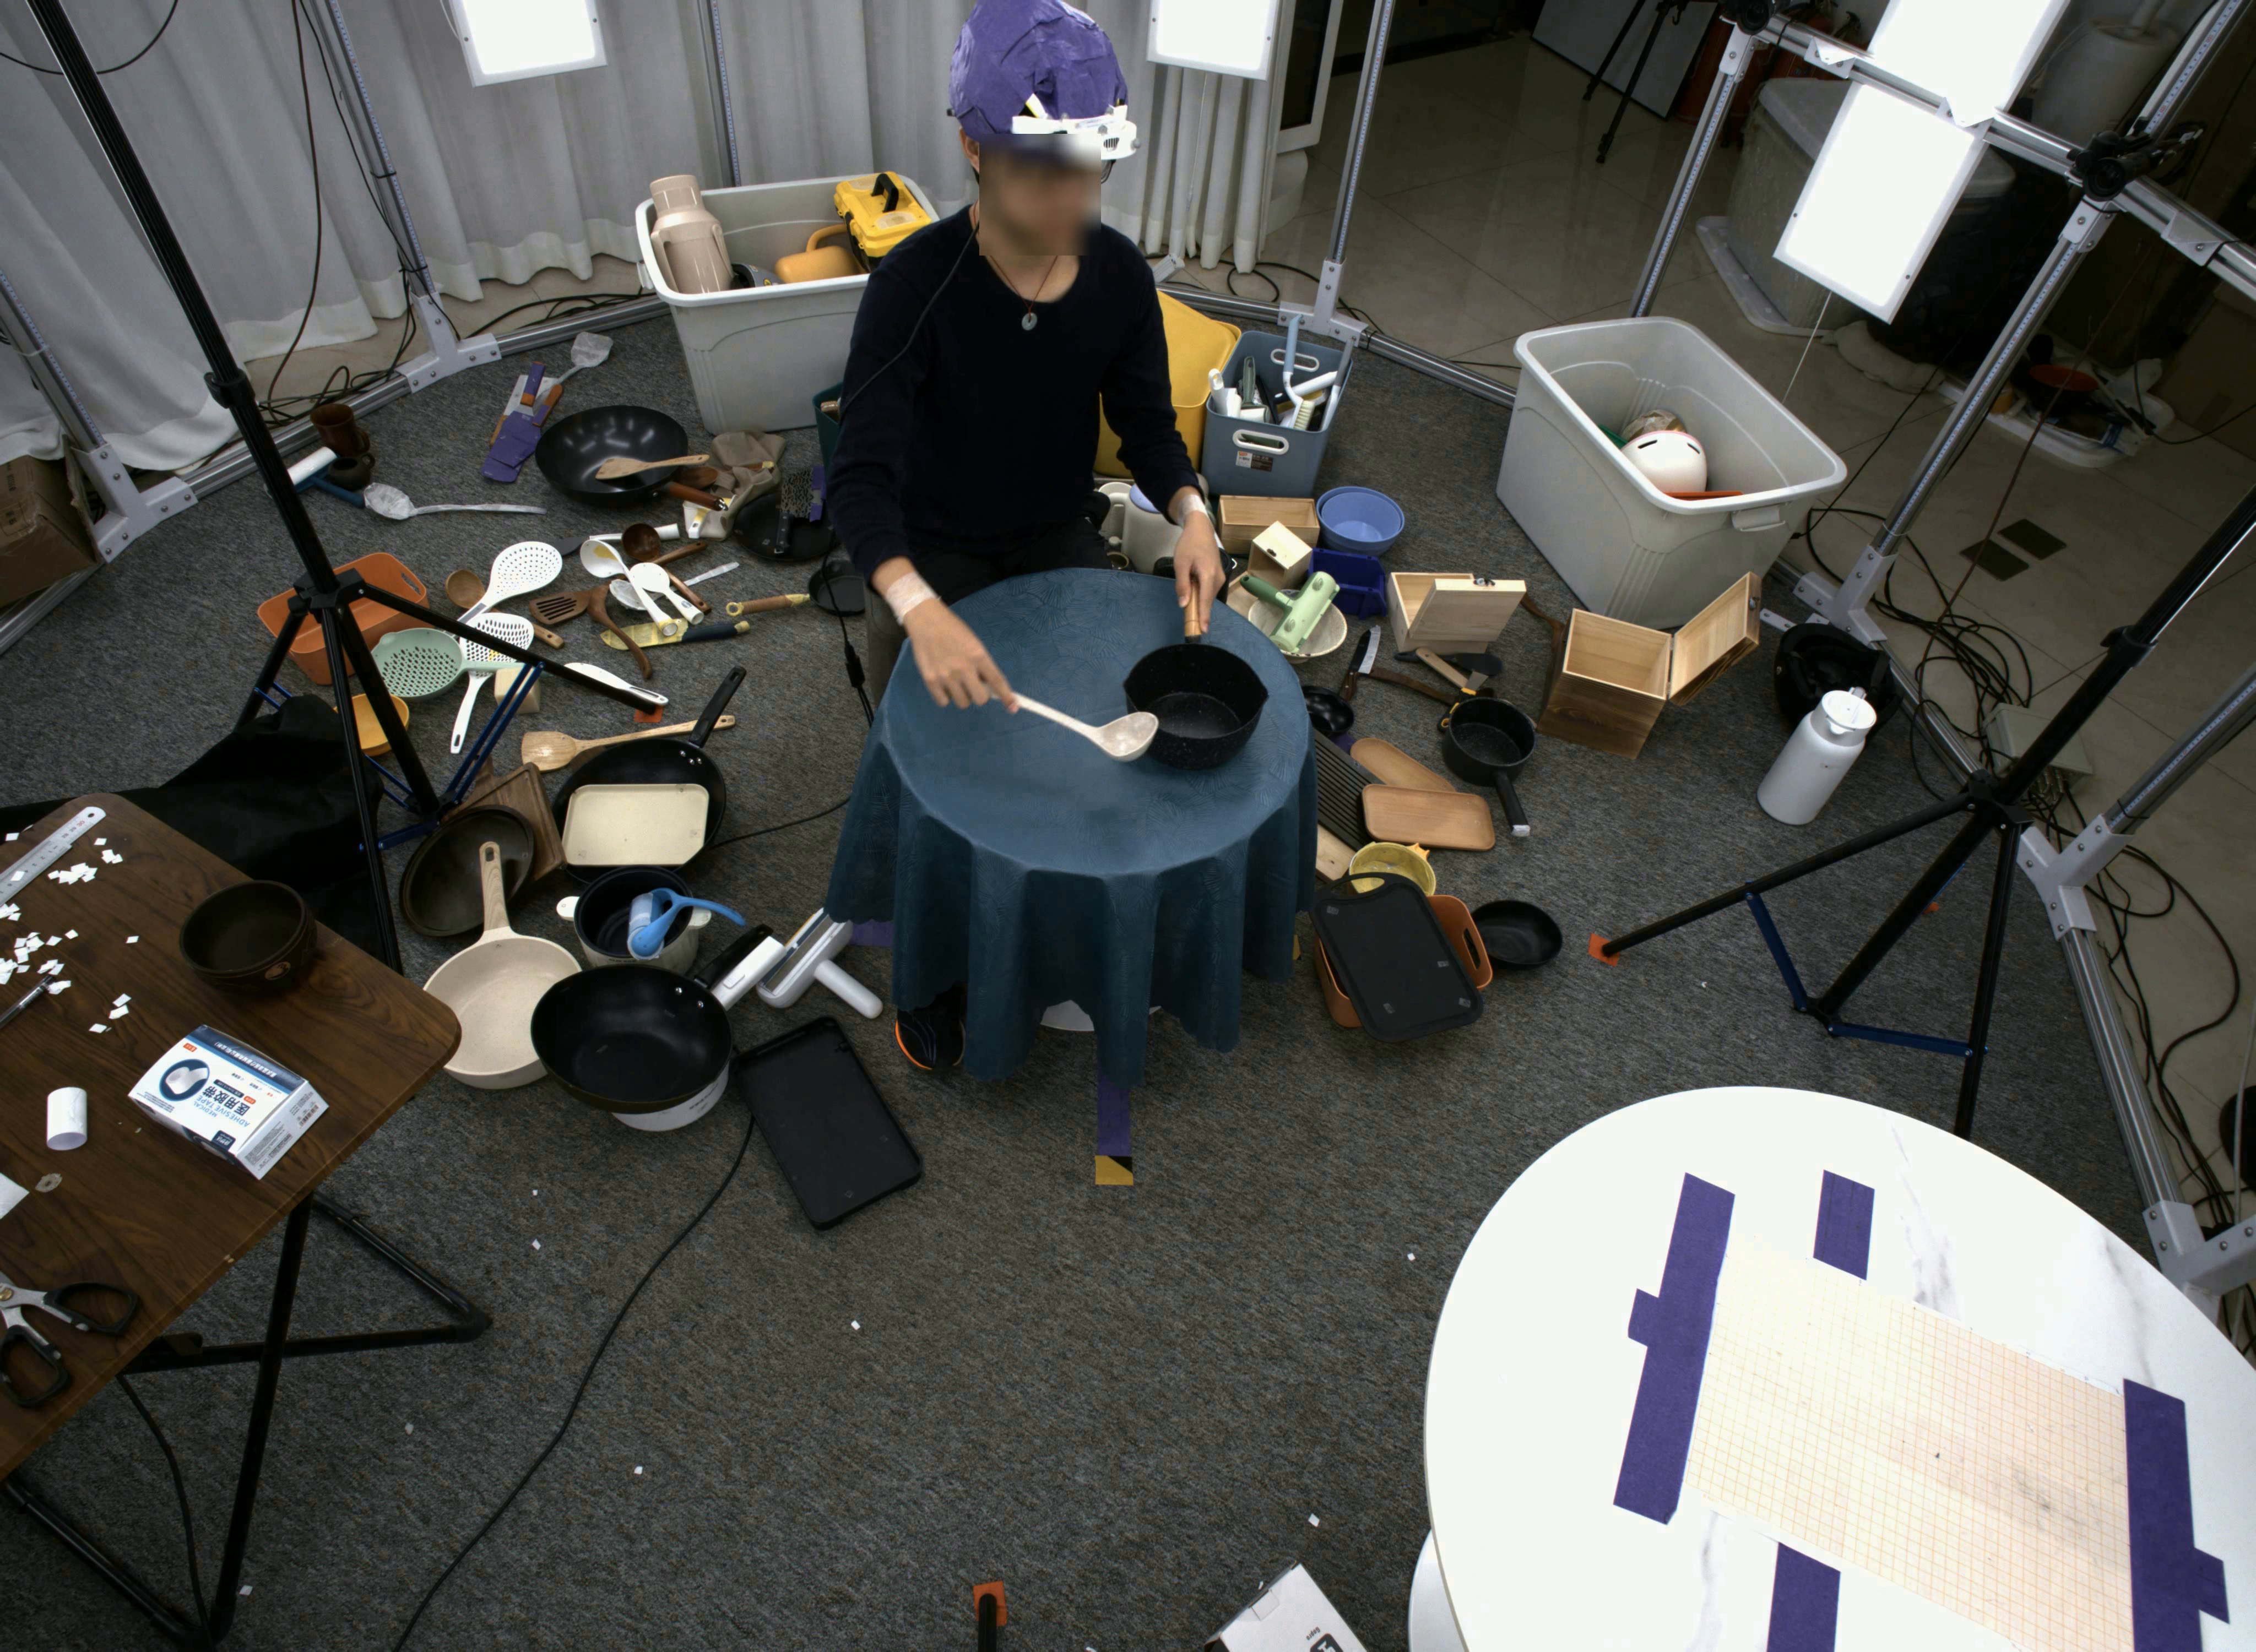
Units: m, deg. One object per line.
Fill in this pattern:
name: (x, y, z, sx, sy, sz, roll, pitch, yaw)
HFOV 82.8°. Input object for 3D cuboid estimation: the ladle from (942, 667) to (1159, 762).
ladle: (-0.094, -0.159, 1.606, 0.273, 0.068, 0.091, 24, 40, -13)

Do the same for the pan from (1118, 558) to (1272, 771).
pan: (0.088, -0.227, 1.802, 0.207, 0.105, 0.351, 1, 50, -2)
